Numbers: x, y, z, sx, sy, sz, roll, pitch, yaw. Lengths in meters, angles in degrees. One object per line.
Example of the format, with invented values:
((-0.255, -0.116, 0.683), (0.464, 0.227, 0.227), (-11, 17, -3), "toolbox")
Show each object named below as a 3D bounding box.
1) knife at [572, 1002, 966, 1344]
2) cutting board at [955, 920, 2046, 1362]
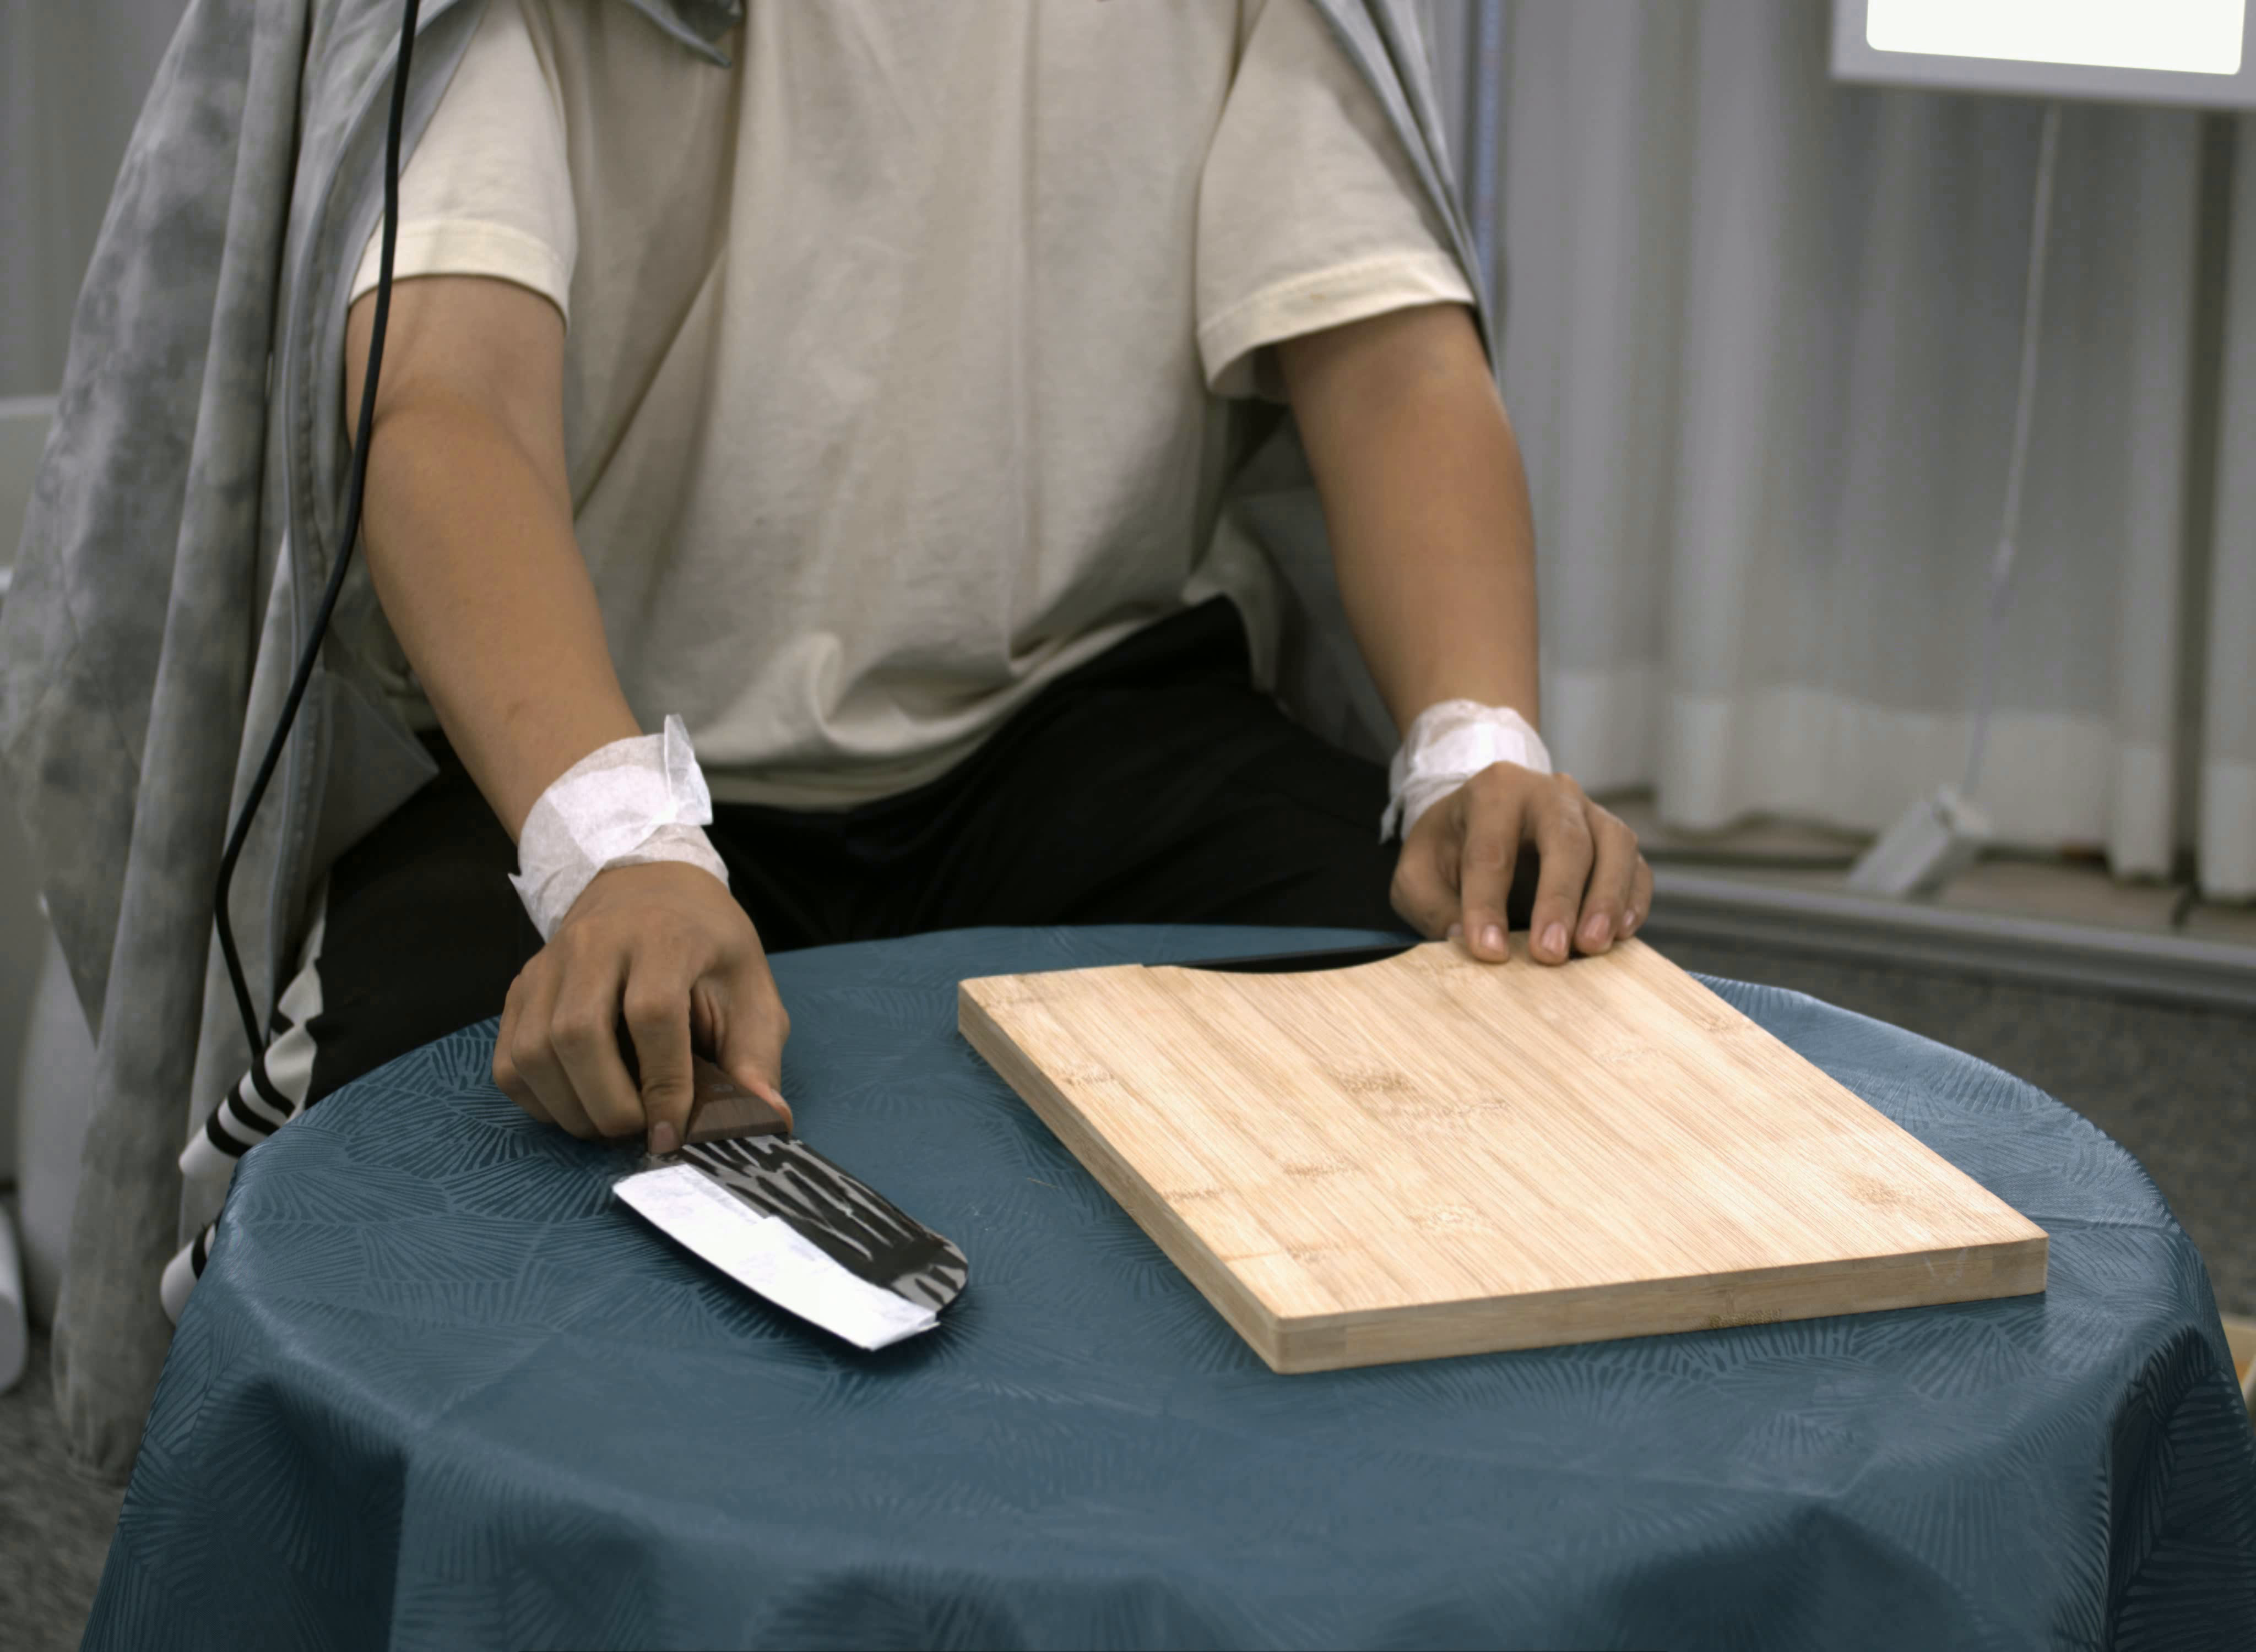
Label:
((-0.122, 0.105, 1.601), (0.068, 0.024, 0.296), (-9, 18, -26), "knife")
((0.105, 0.094, 1.668), (0.251, 0.024, 0.345), (-4, 16, -18), "cutting board")
